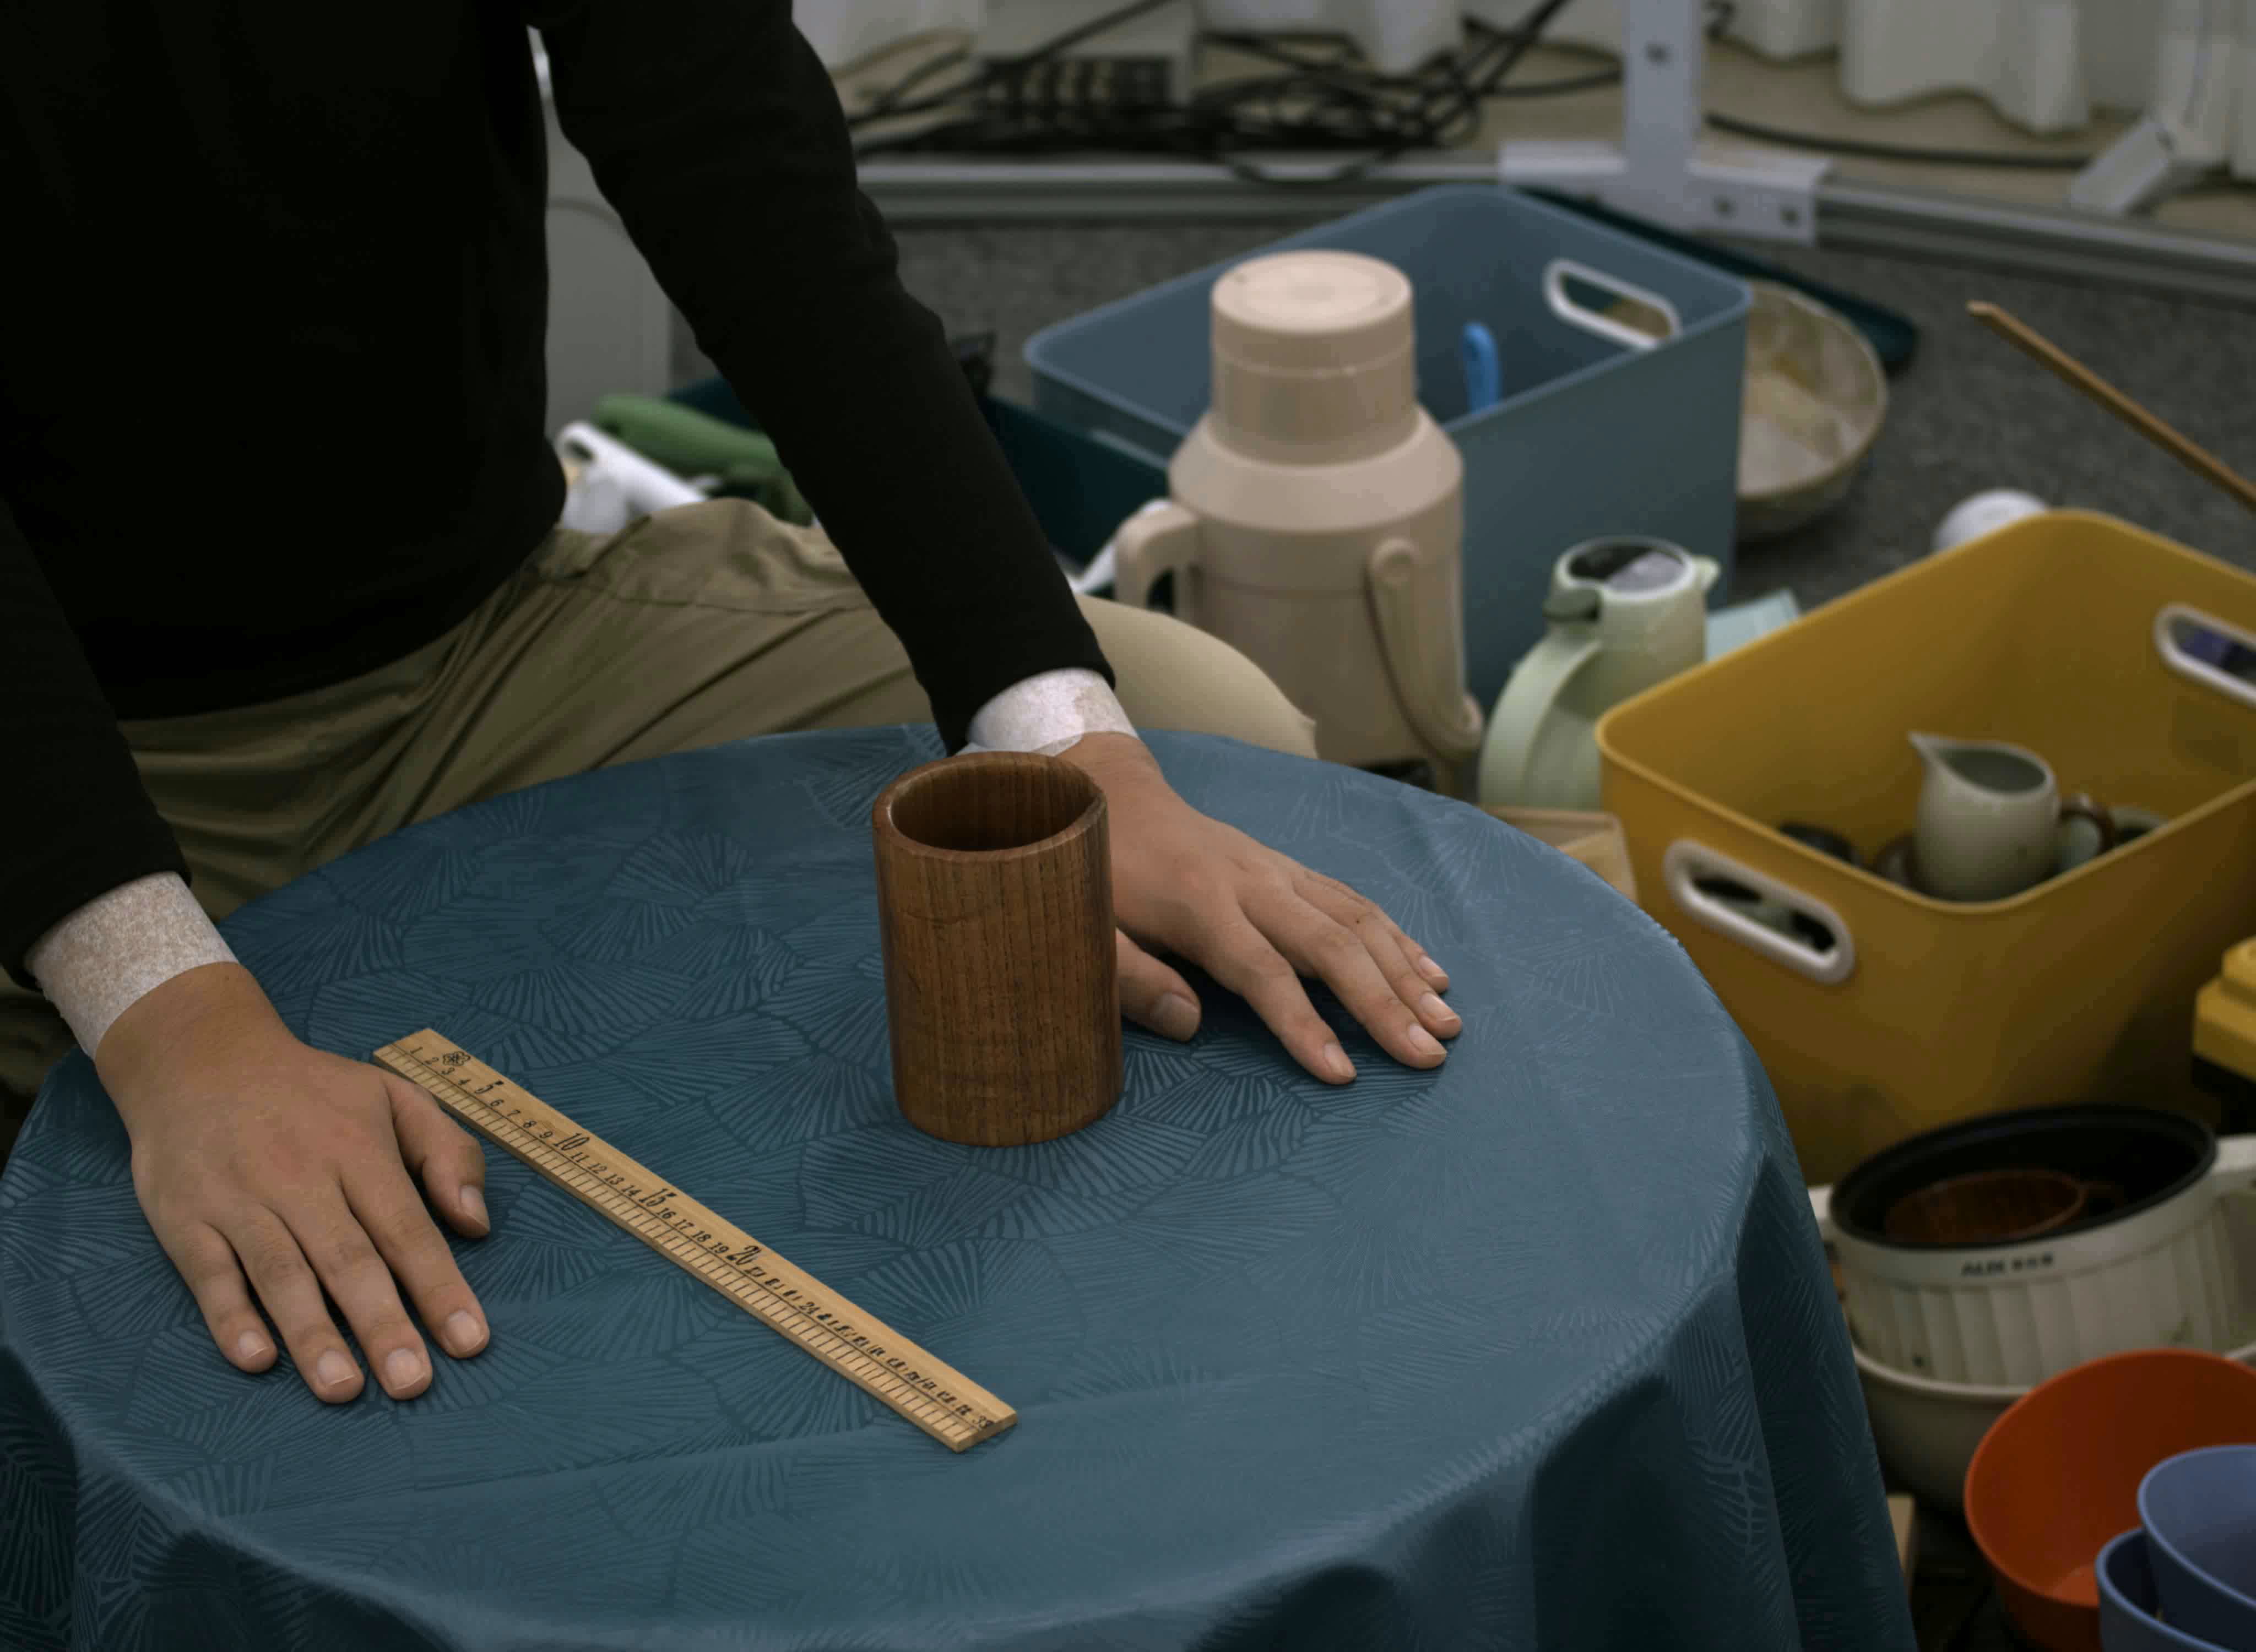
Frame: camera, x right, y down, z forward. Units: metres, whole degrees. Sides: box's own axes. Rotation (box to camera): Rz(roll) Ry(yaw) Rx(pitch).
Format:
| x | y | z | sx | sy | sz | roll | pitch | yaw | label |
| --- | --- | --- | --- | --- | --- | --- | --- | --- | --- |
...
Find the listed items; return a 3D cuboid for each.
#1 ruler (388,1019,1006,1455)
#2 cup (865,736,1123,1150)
| x | y | z | sx | sy | sz | roll | pitch | yaw | label |
| --- | --- | --- | --- | --- | --- | --- | --- | --- | --- |
| -0.149 | 0.129 | 1.851 | 0.028 | 0.022 | 0.332 | -17 | 31 | -34 | ruler |
| -0.044 | 0.040 | 1.899 | 0.087 | 0.117 | 0.089 | -2 | 26 | 1 | cup |
